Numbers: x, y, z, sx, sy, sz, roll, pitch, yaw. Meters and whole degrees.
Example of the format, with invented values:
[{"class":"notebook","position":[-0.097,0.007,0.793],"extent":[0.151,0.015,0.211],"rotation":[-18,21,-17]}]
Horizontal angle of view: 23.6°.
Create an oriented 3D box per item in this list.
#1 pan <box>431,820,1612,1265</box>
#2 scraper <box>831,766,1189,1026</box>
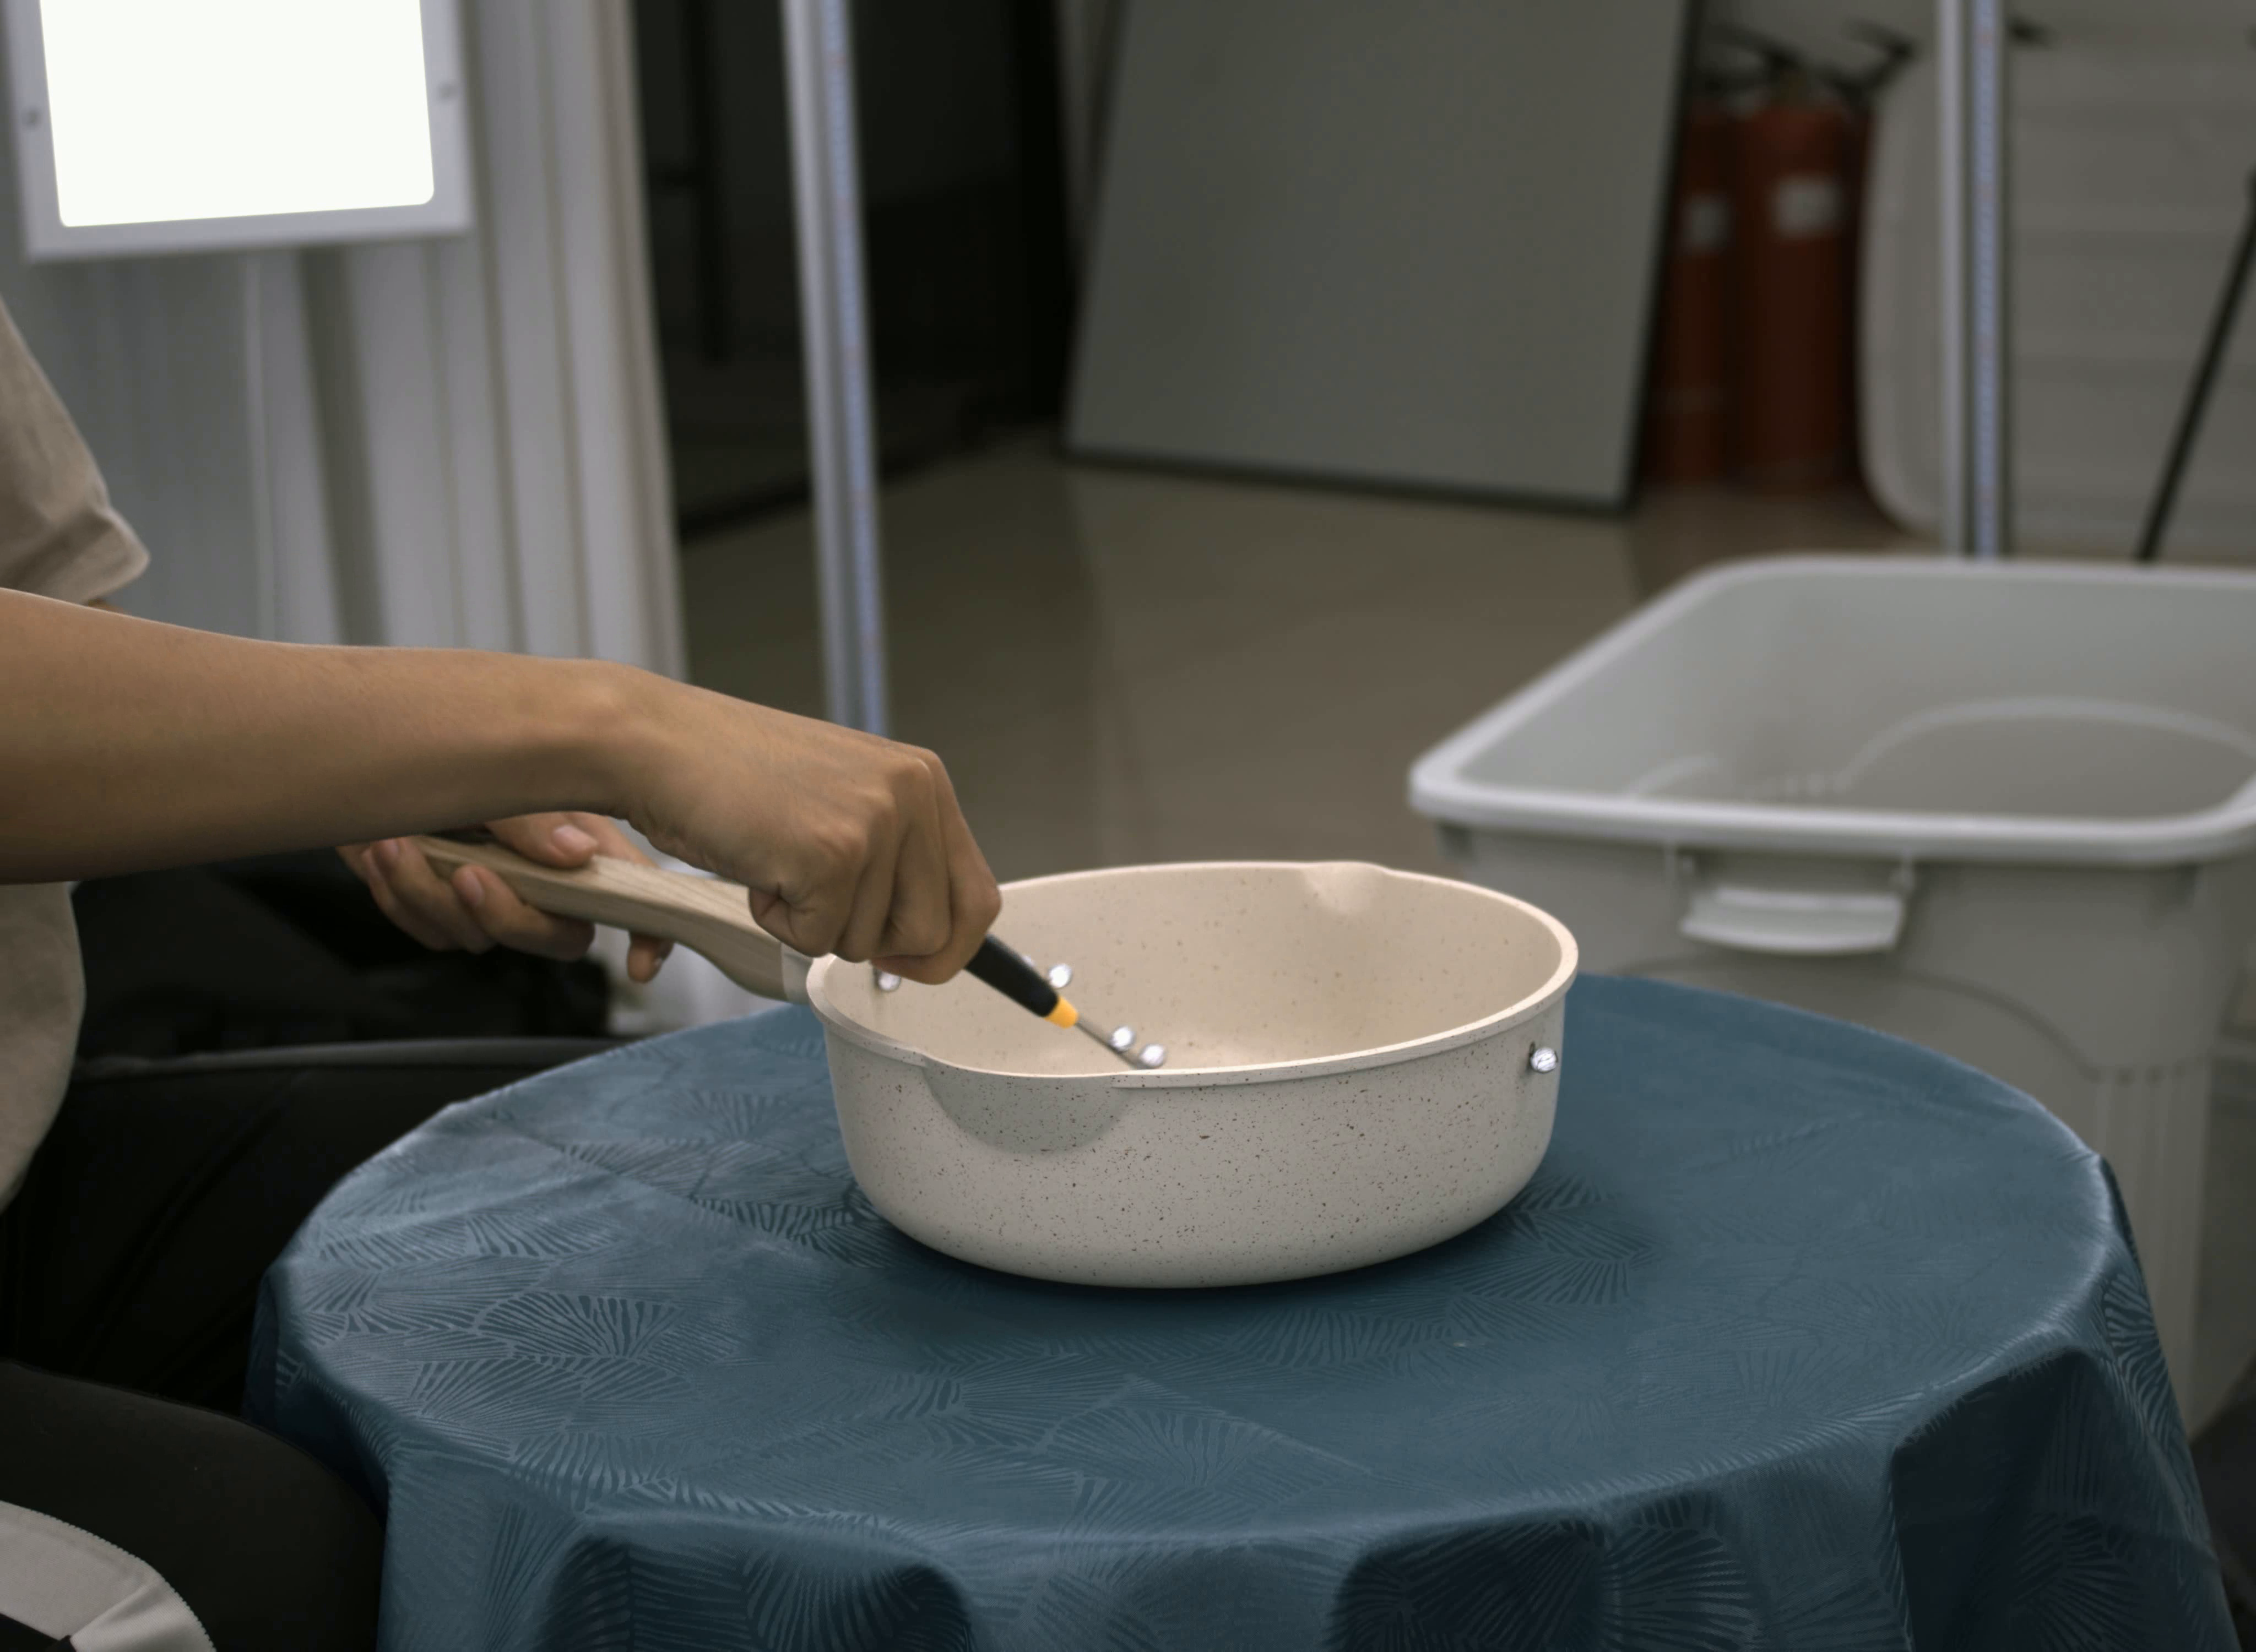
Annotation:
[{"class":"pan","position":[-0.044,0.061,1.811],"extent":[0.436,0.103,0.260],"rotation":[3,18,28]},{"class":"scraper","position":[-0.034,0.030,1.722],"extent":[0.168,0.015,0.039],"rotation":[38,8,-33]}]
